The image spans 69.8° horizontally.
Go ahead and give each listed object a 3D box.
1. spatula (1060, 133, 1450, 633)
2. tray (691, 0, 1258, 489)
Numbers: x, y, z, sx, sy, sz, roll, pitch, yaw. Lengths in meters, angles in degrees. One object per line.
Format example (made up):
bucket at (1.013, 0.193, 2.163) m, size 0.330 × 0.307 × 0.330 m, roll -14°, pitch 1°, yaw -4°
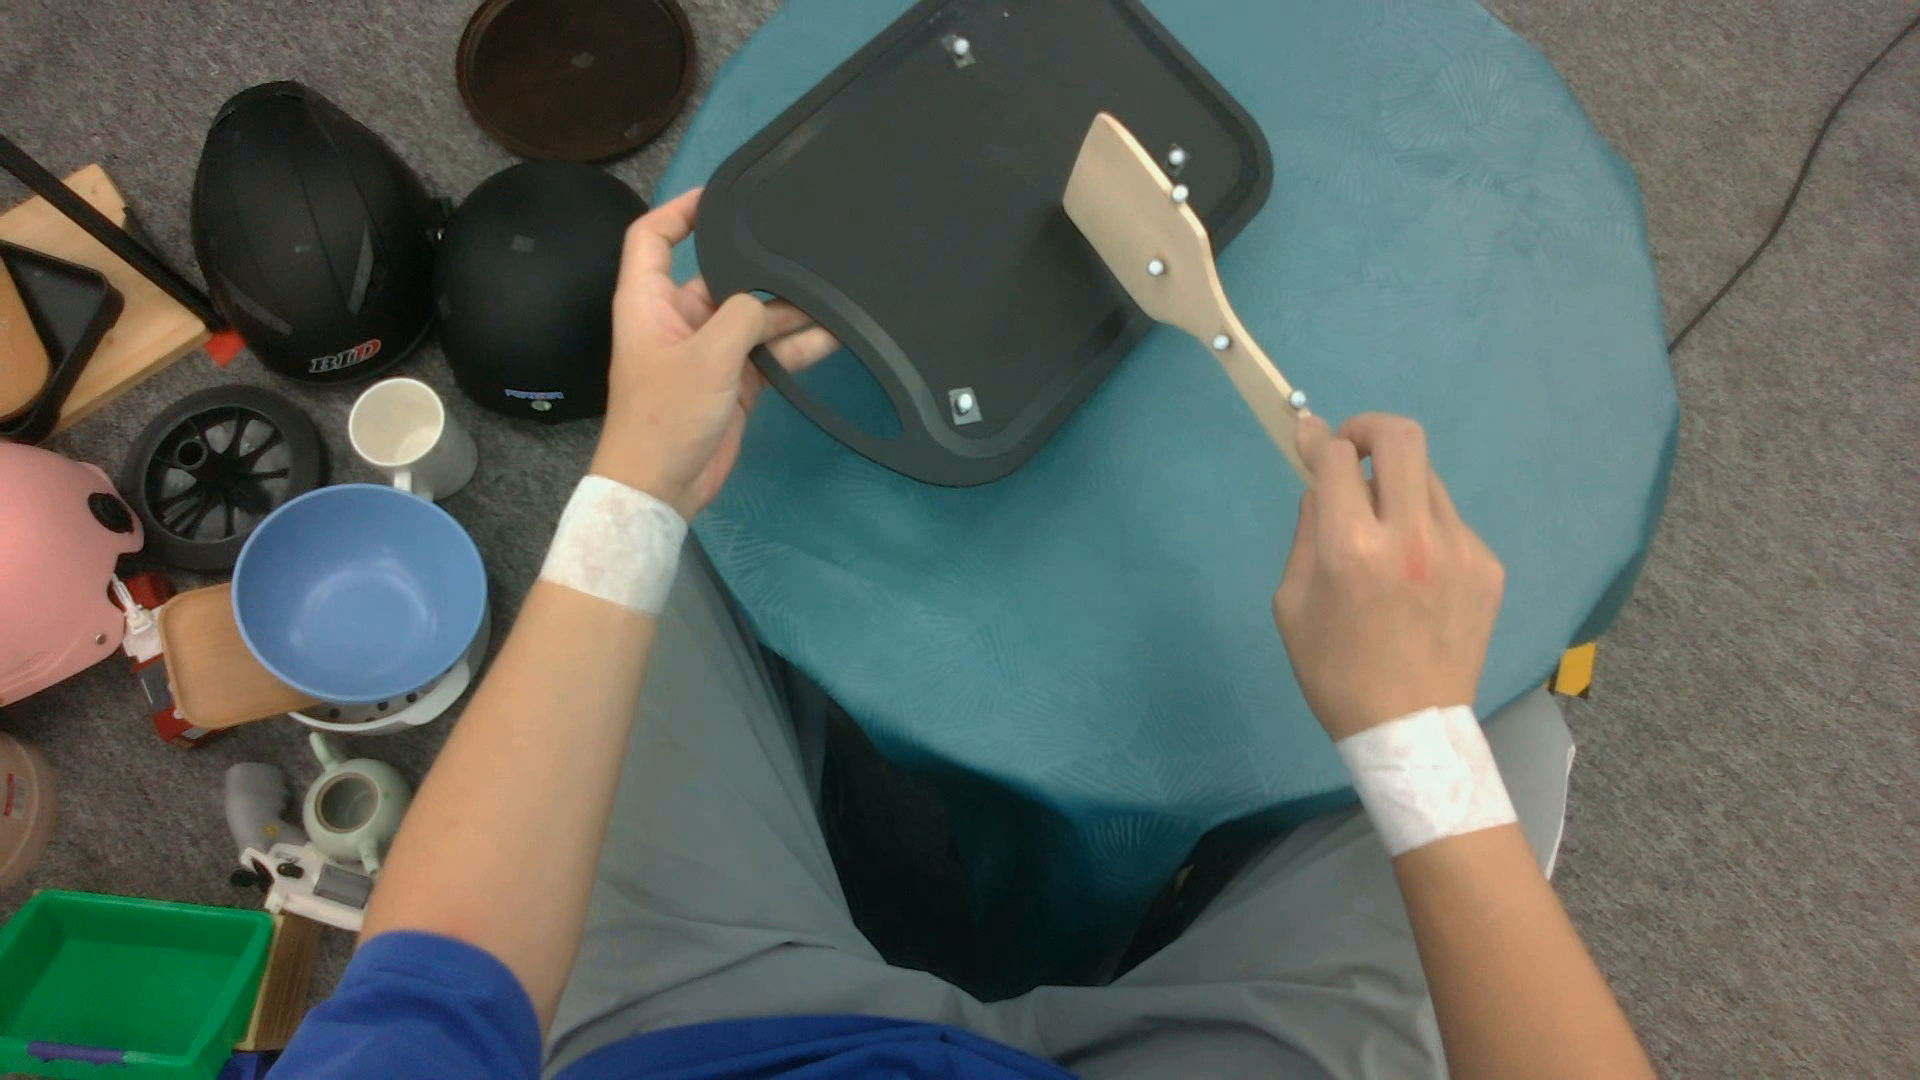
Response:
spatula at (0.141, -0.076, 0.671) m, size 0.011 × 0.072 × 0.293 m, roll -25°, pitch 70°, yaw -26°
tray at (0.016, -0.176, 0.730) m, size 0.211 × 0.010 × 0.327 m, roll 43°, pitch 66°, yaw -3°
